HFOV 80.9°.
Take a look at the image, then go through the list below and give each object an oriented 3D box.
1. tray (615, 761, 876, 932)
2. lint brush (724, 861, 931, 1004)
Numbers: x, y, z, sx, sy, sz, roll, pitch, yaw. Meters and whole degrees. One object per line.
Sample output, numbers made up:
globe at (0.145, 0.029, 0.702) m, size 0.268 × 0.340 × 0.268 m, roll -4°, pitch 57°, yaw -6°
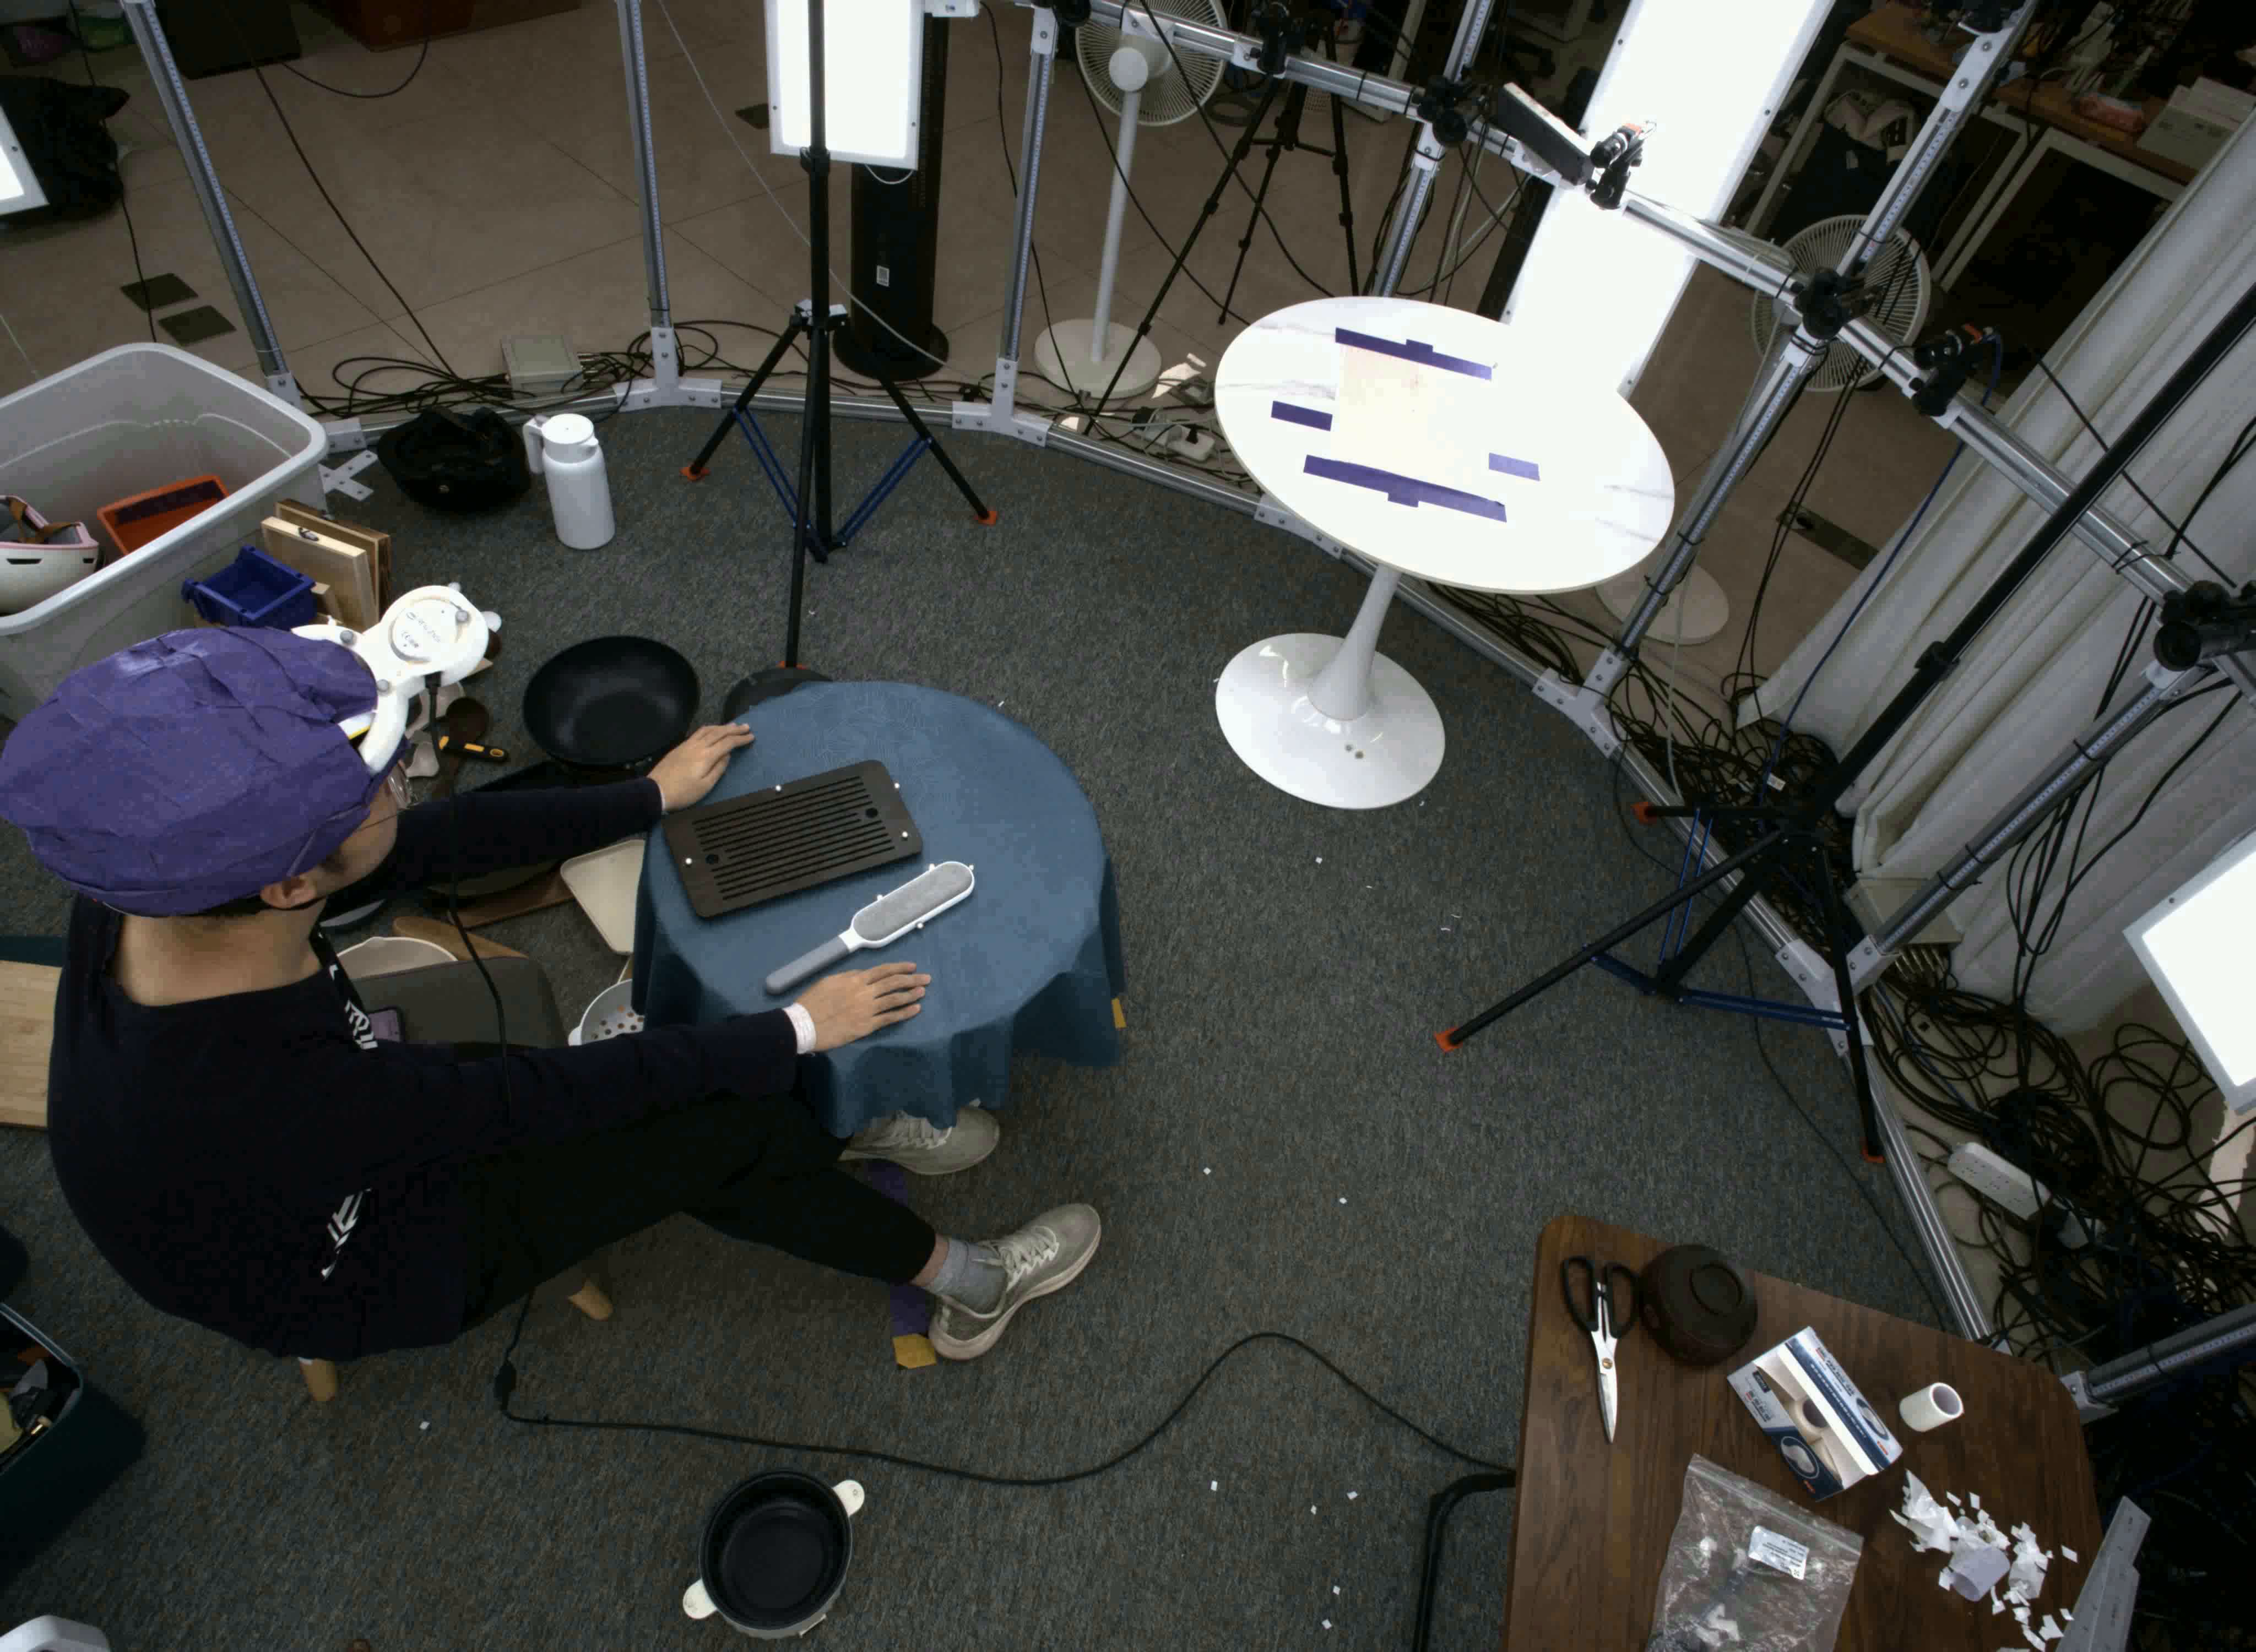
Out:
tray at (-0.499, 0.022, 1.689) m, size 0.307 × 0.019 × 0.166 m, roll -21°, pitch 62°, yaw -27°
lint brush at (-0.376, 0.130, 1.634) m, size 0.310 × 0.021 × 0.059 m, roll -34°, pitch 73°, yaw -32°
